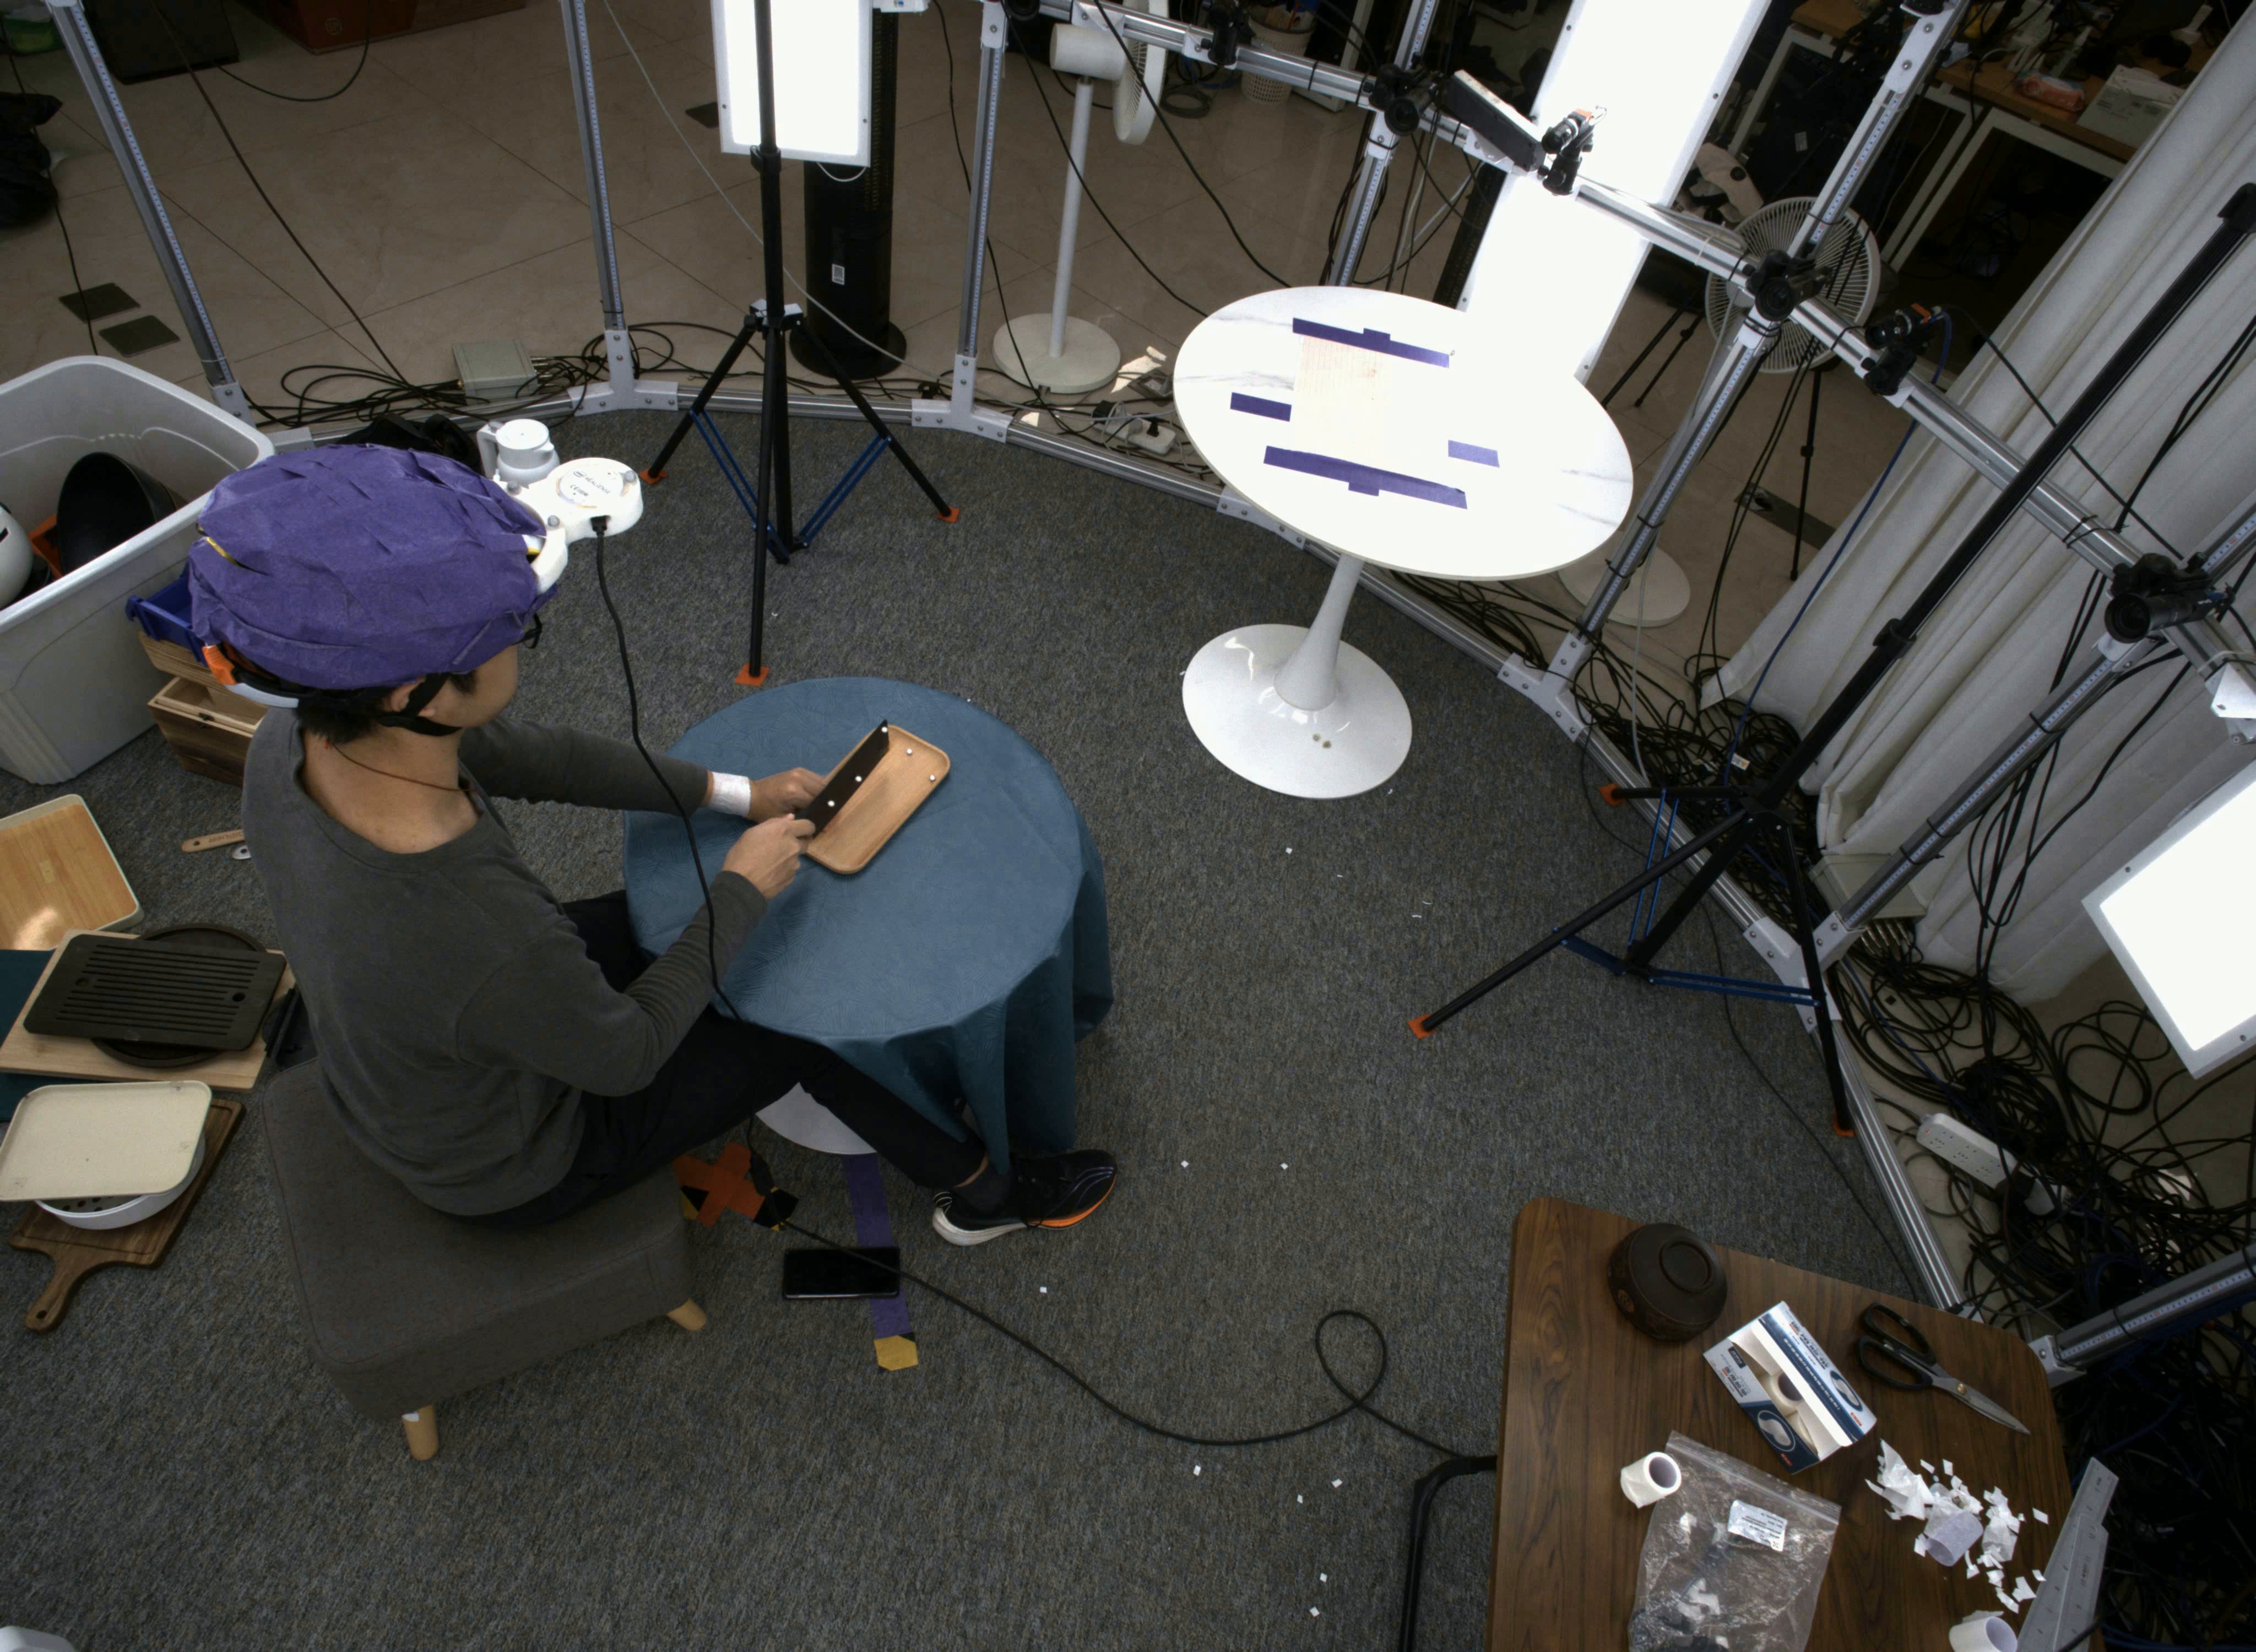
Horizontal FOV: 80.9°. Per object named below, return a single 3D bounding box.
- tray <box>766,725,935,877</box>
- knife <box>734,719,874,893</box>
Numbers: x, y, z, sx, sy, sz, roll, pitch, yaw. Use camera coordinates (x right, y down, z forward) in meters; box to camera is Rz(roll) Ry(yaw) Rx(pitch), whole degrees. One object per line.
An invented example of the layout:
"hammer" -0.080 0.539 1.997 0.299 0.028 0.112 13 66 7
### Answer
"tray" -0.374 -0.037 1.765 0.128 0.023 0.250 28 53 10
"knife" -0.410 -0.025 1.670 0.020 0.083 0.300 21 48 14
